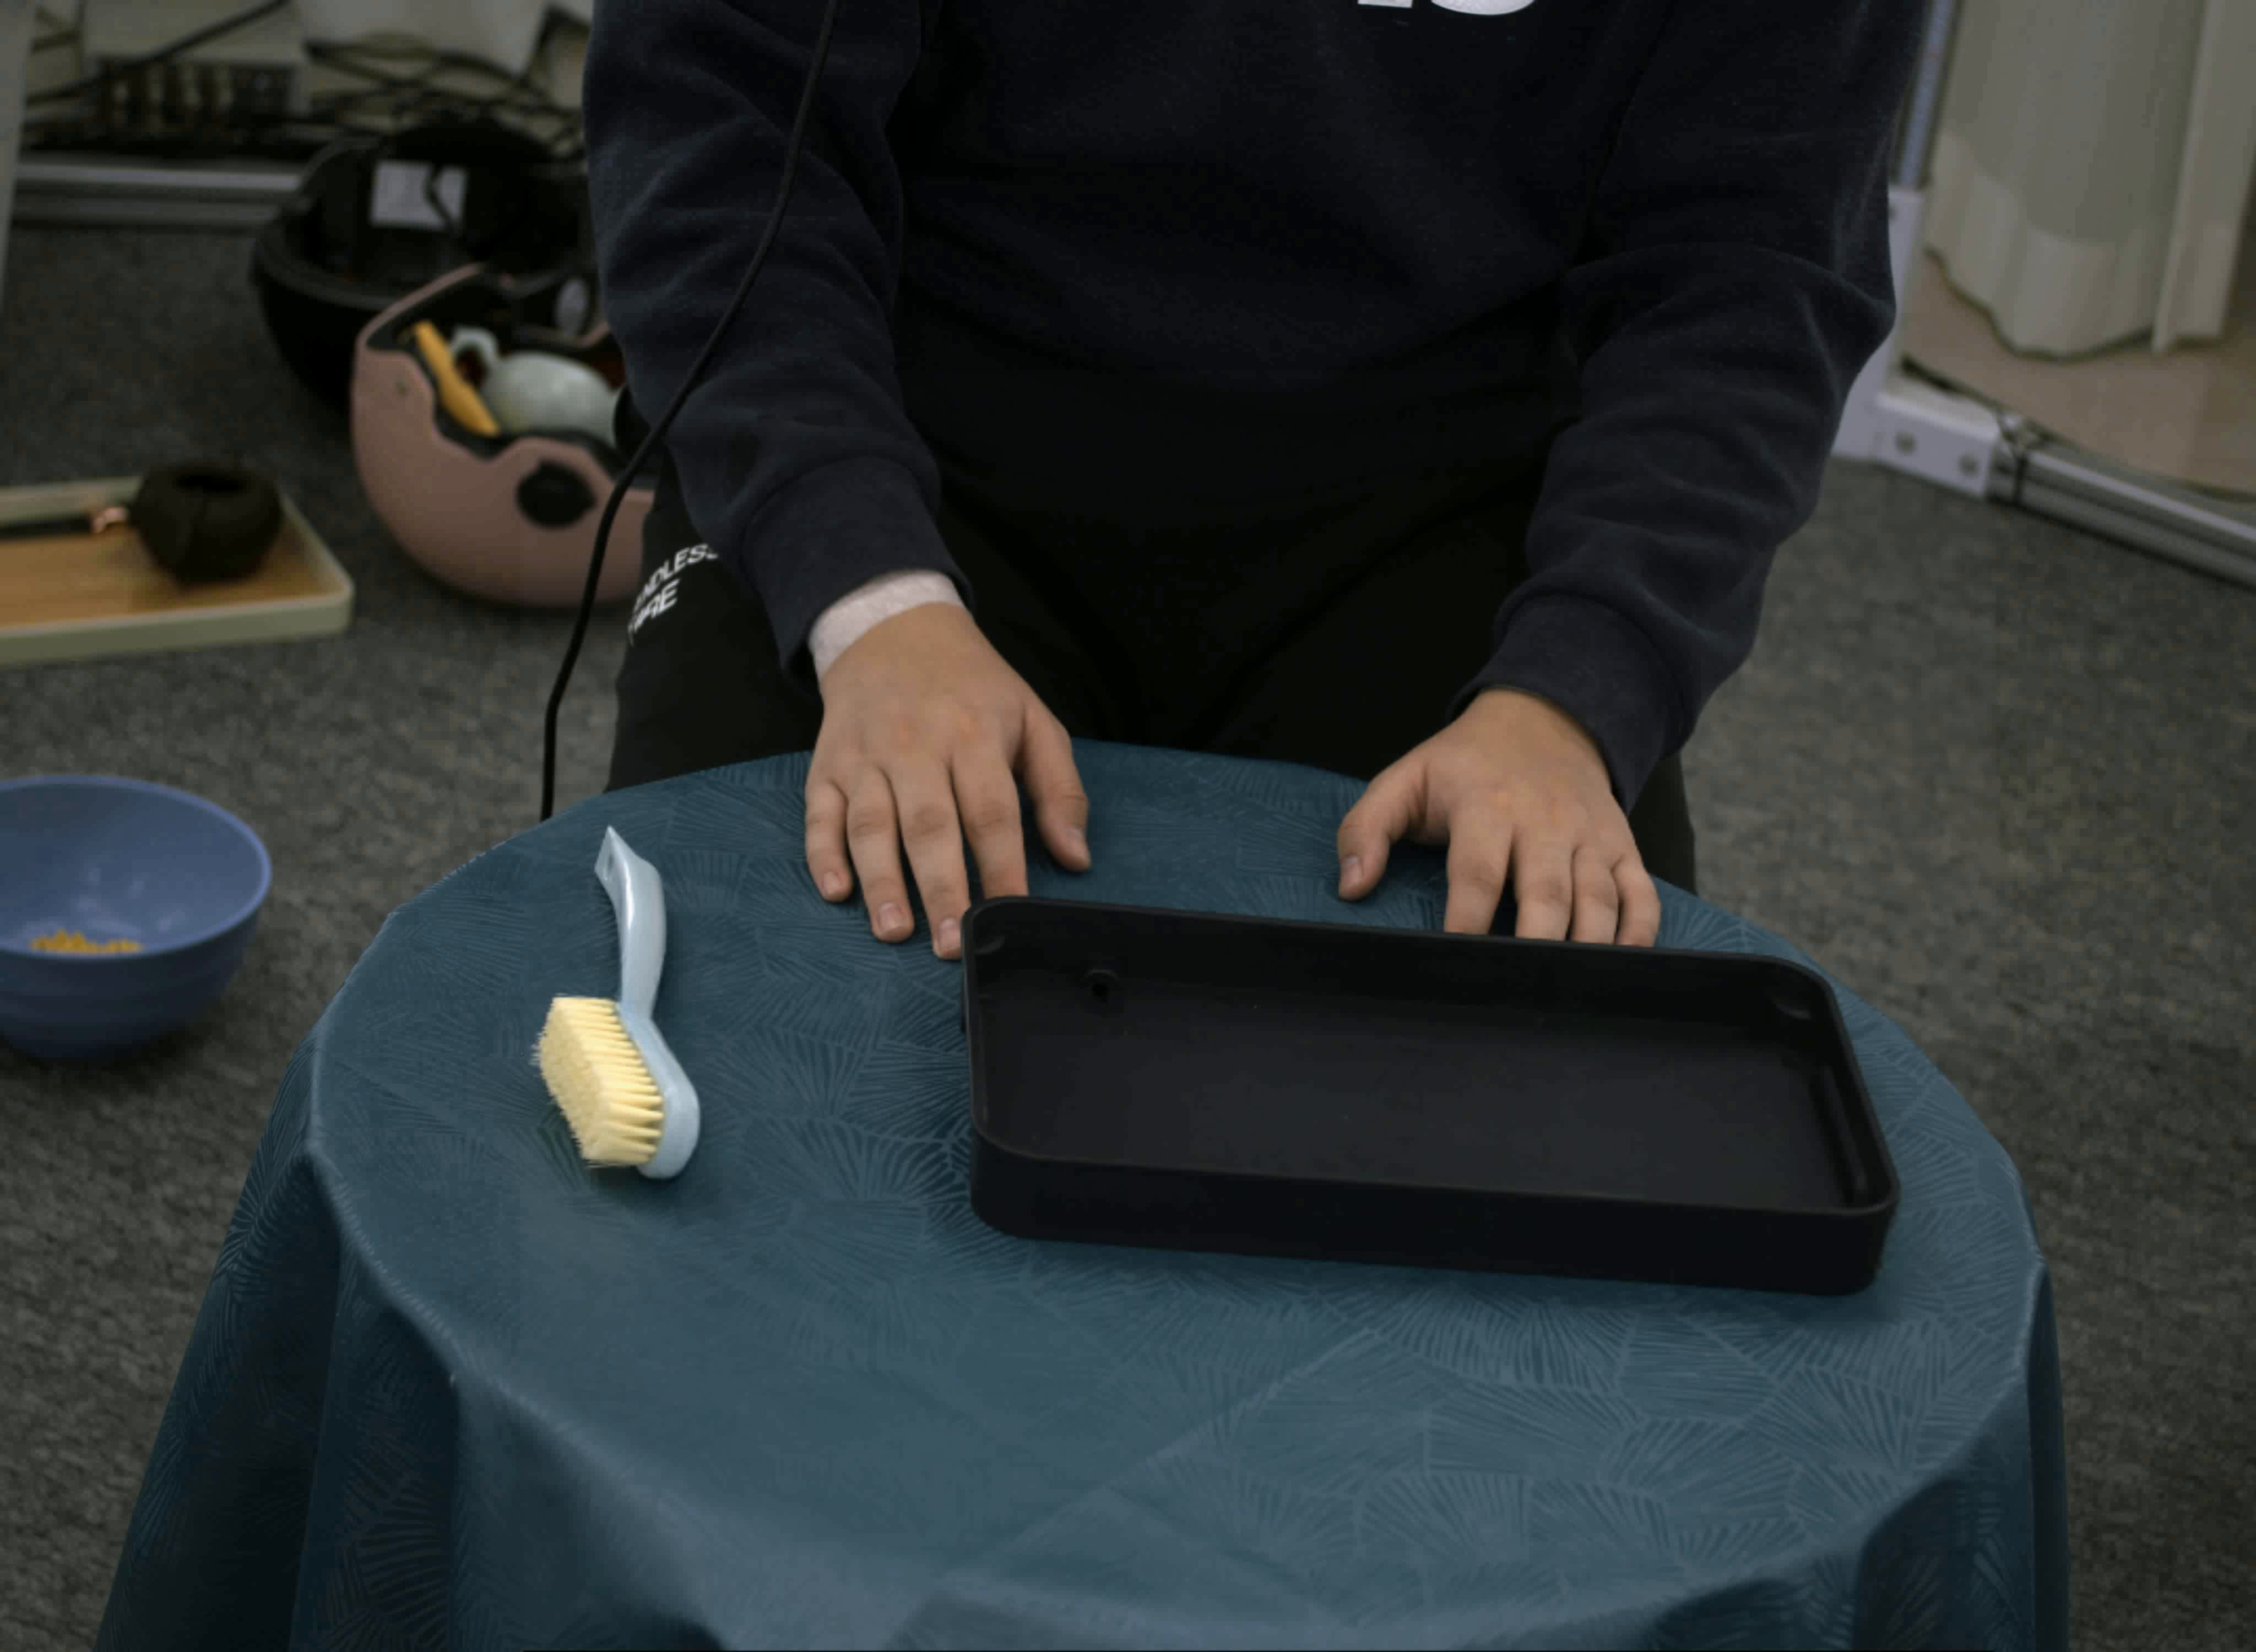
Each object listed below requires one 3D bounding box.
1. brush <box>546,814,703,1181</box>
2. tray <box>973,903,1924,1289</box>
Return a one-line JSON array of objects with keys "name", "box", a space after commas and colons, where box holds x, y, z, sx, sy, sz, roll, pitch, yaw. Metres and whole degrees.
[{"name": "brush", "box": [-0.181, 0.054, 1.858, 0.049, 0.037, 0.230, 9, 26, -13]}, {"name": "tray", "box": [0.105, 0.093, 1.853, 0.316, 0.037, 0.185, 4, 26, -6]}]
